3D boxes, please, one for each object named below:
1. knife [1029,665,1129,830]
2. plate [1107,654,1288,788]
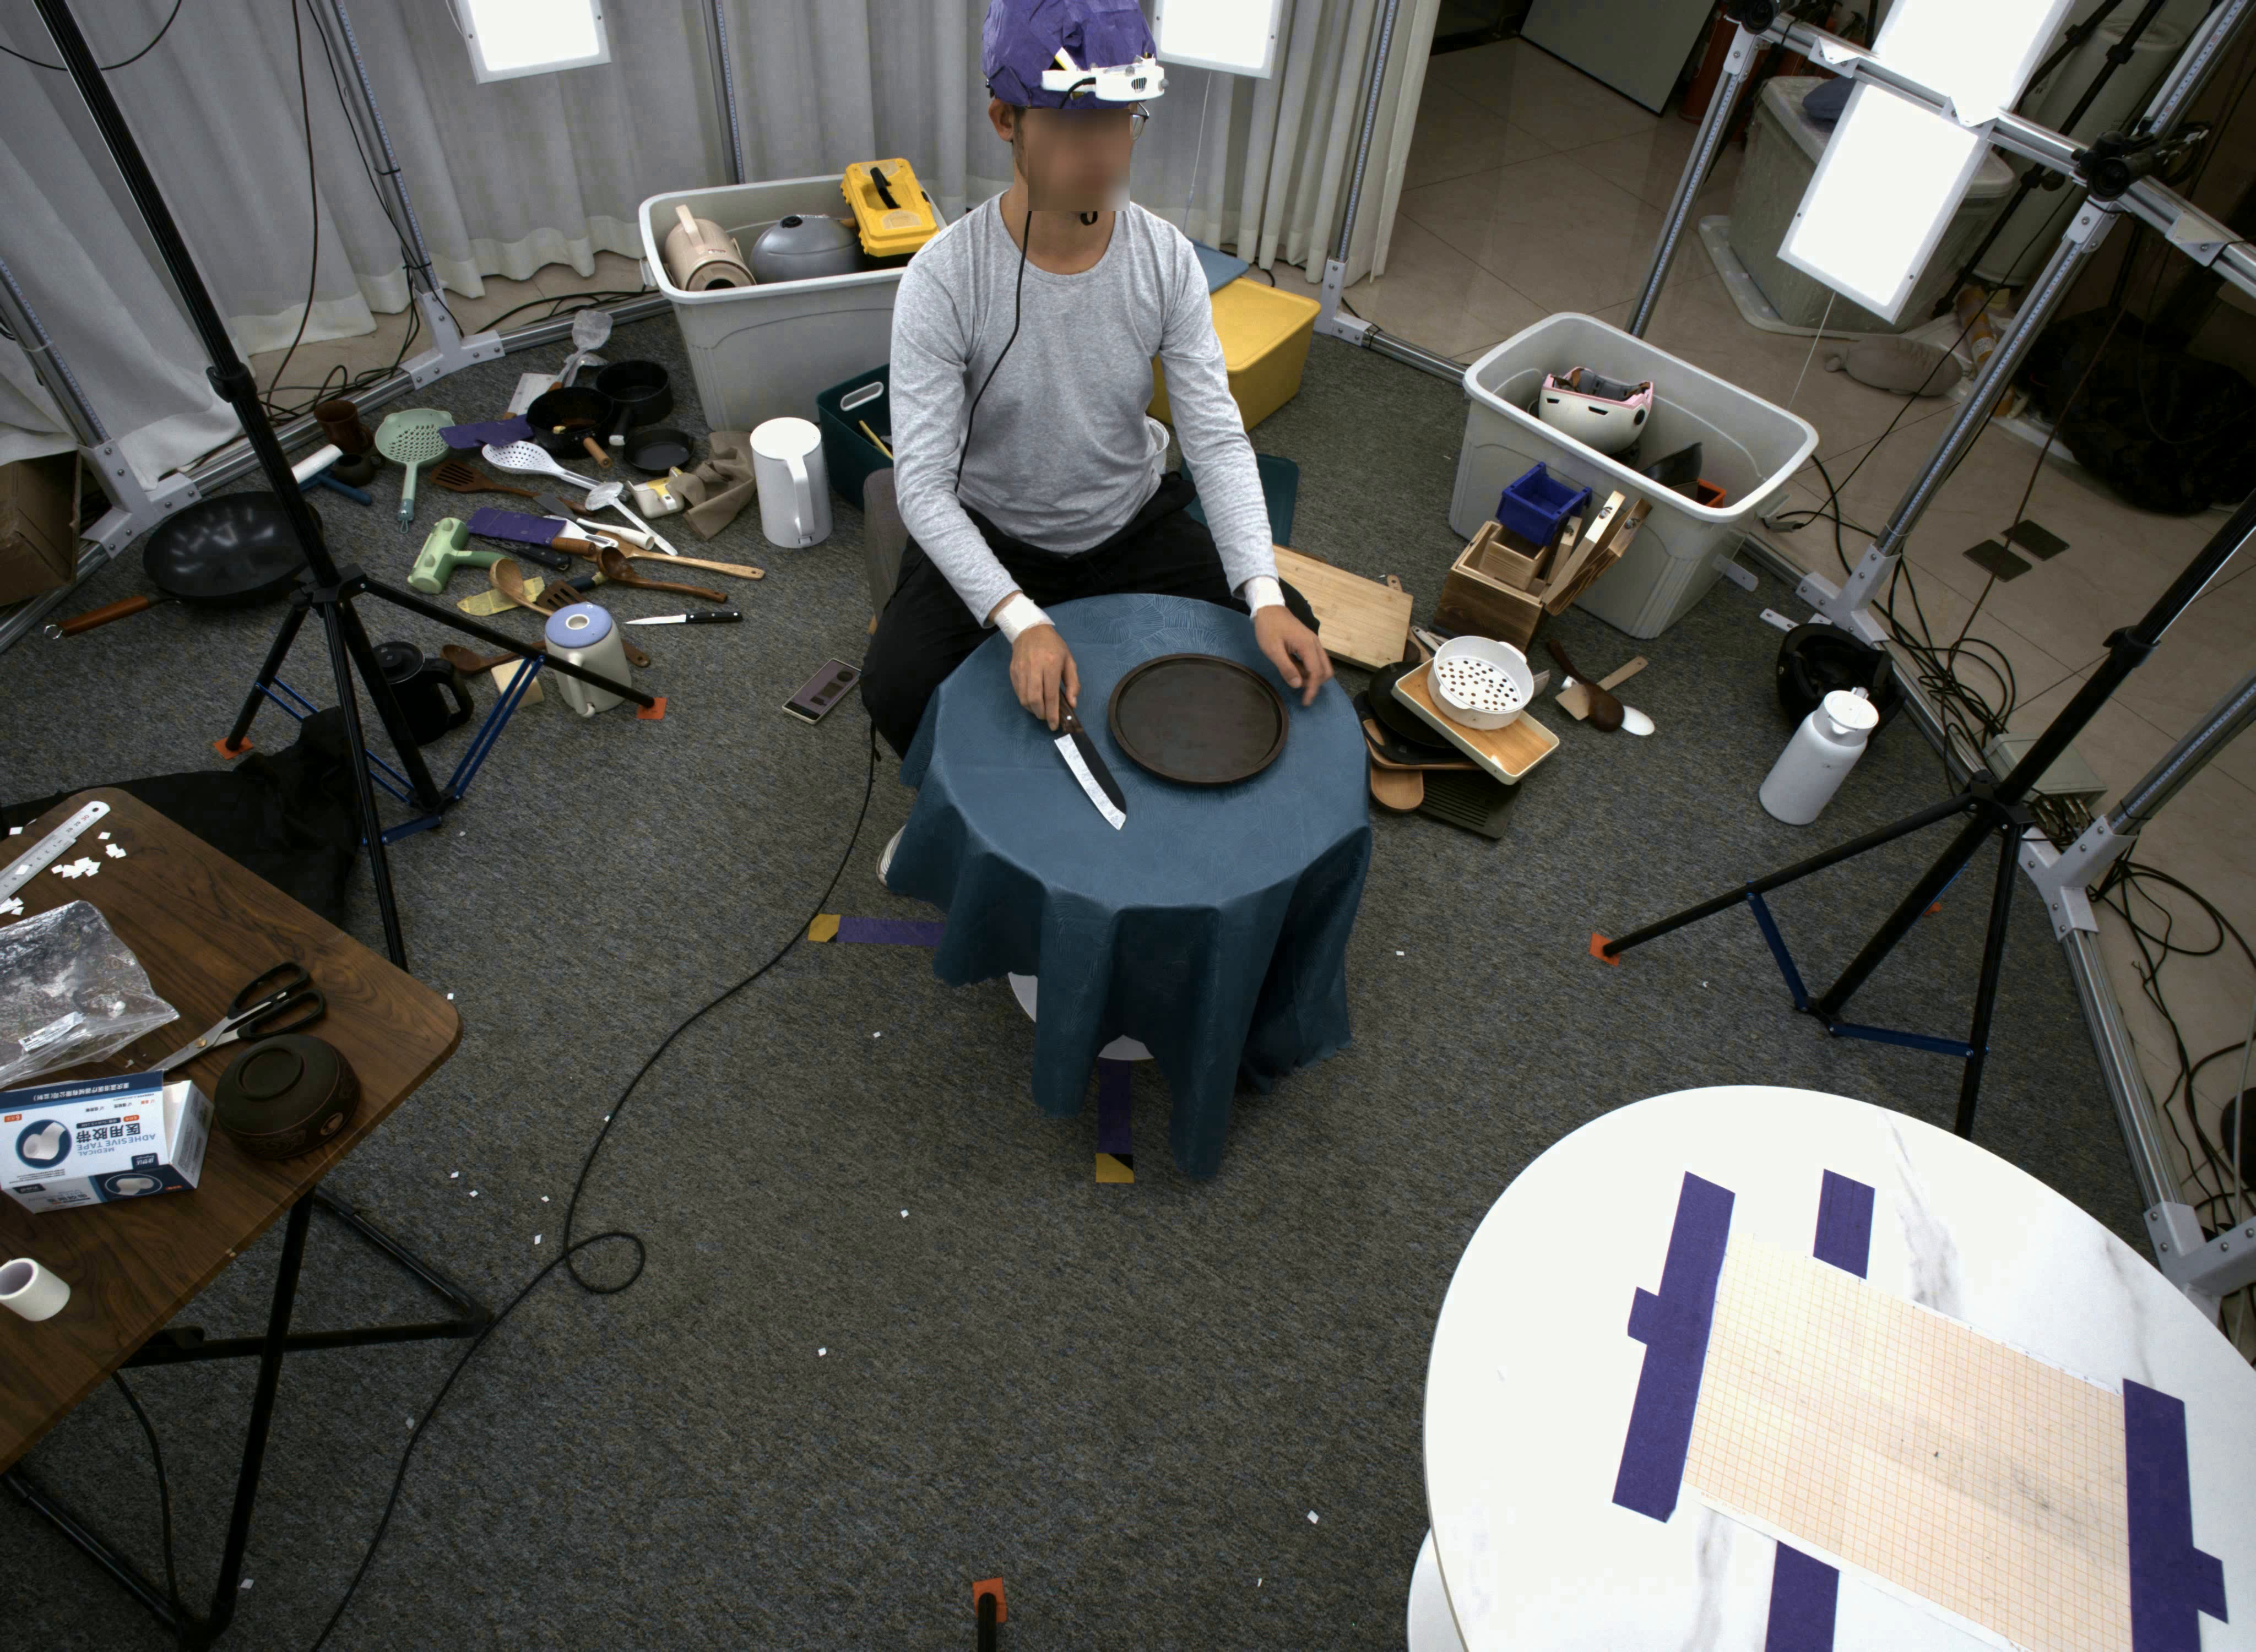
[{"bbox_3d":[-0.068,-0.108,1.733,0.050,0.019,0.295,-22,60,-11],"label":"knife"},{"bbox_3d":[0.097,-0.149,1.787,0.254,0.028,0.261,1,49,-1],"label":"plate"}]
